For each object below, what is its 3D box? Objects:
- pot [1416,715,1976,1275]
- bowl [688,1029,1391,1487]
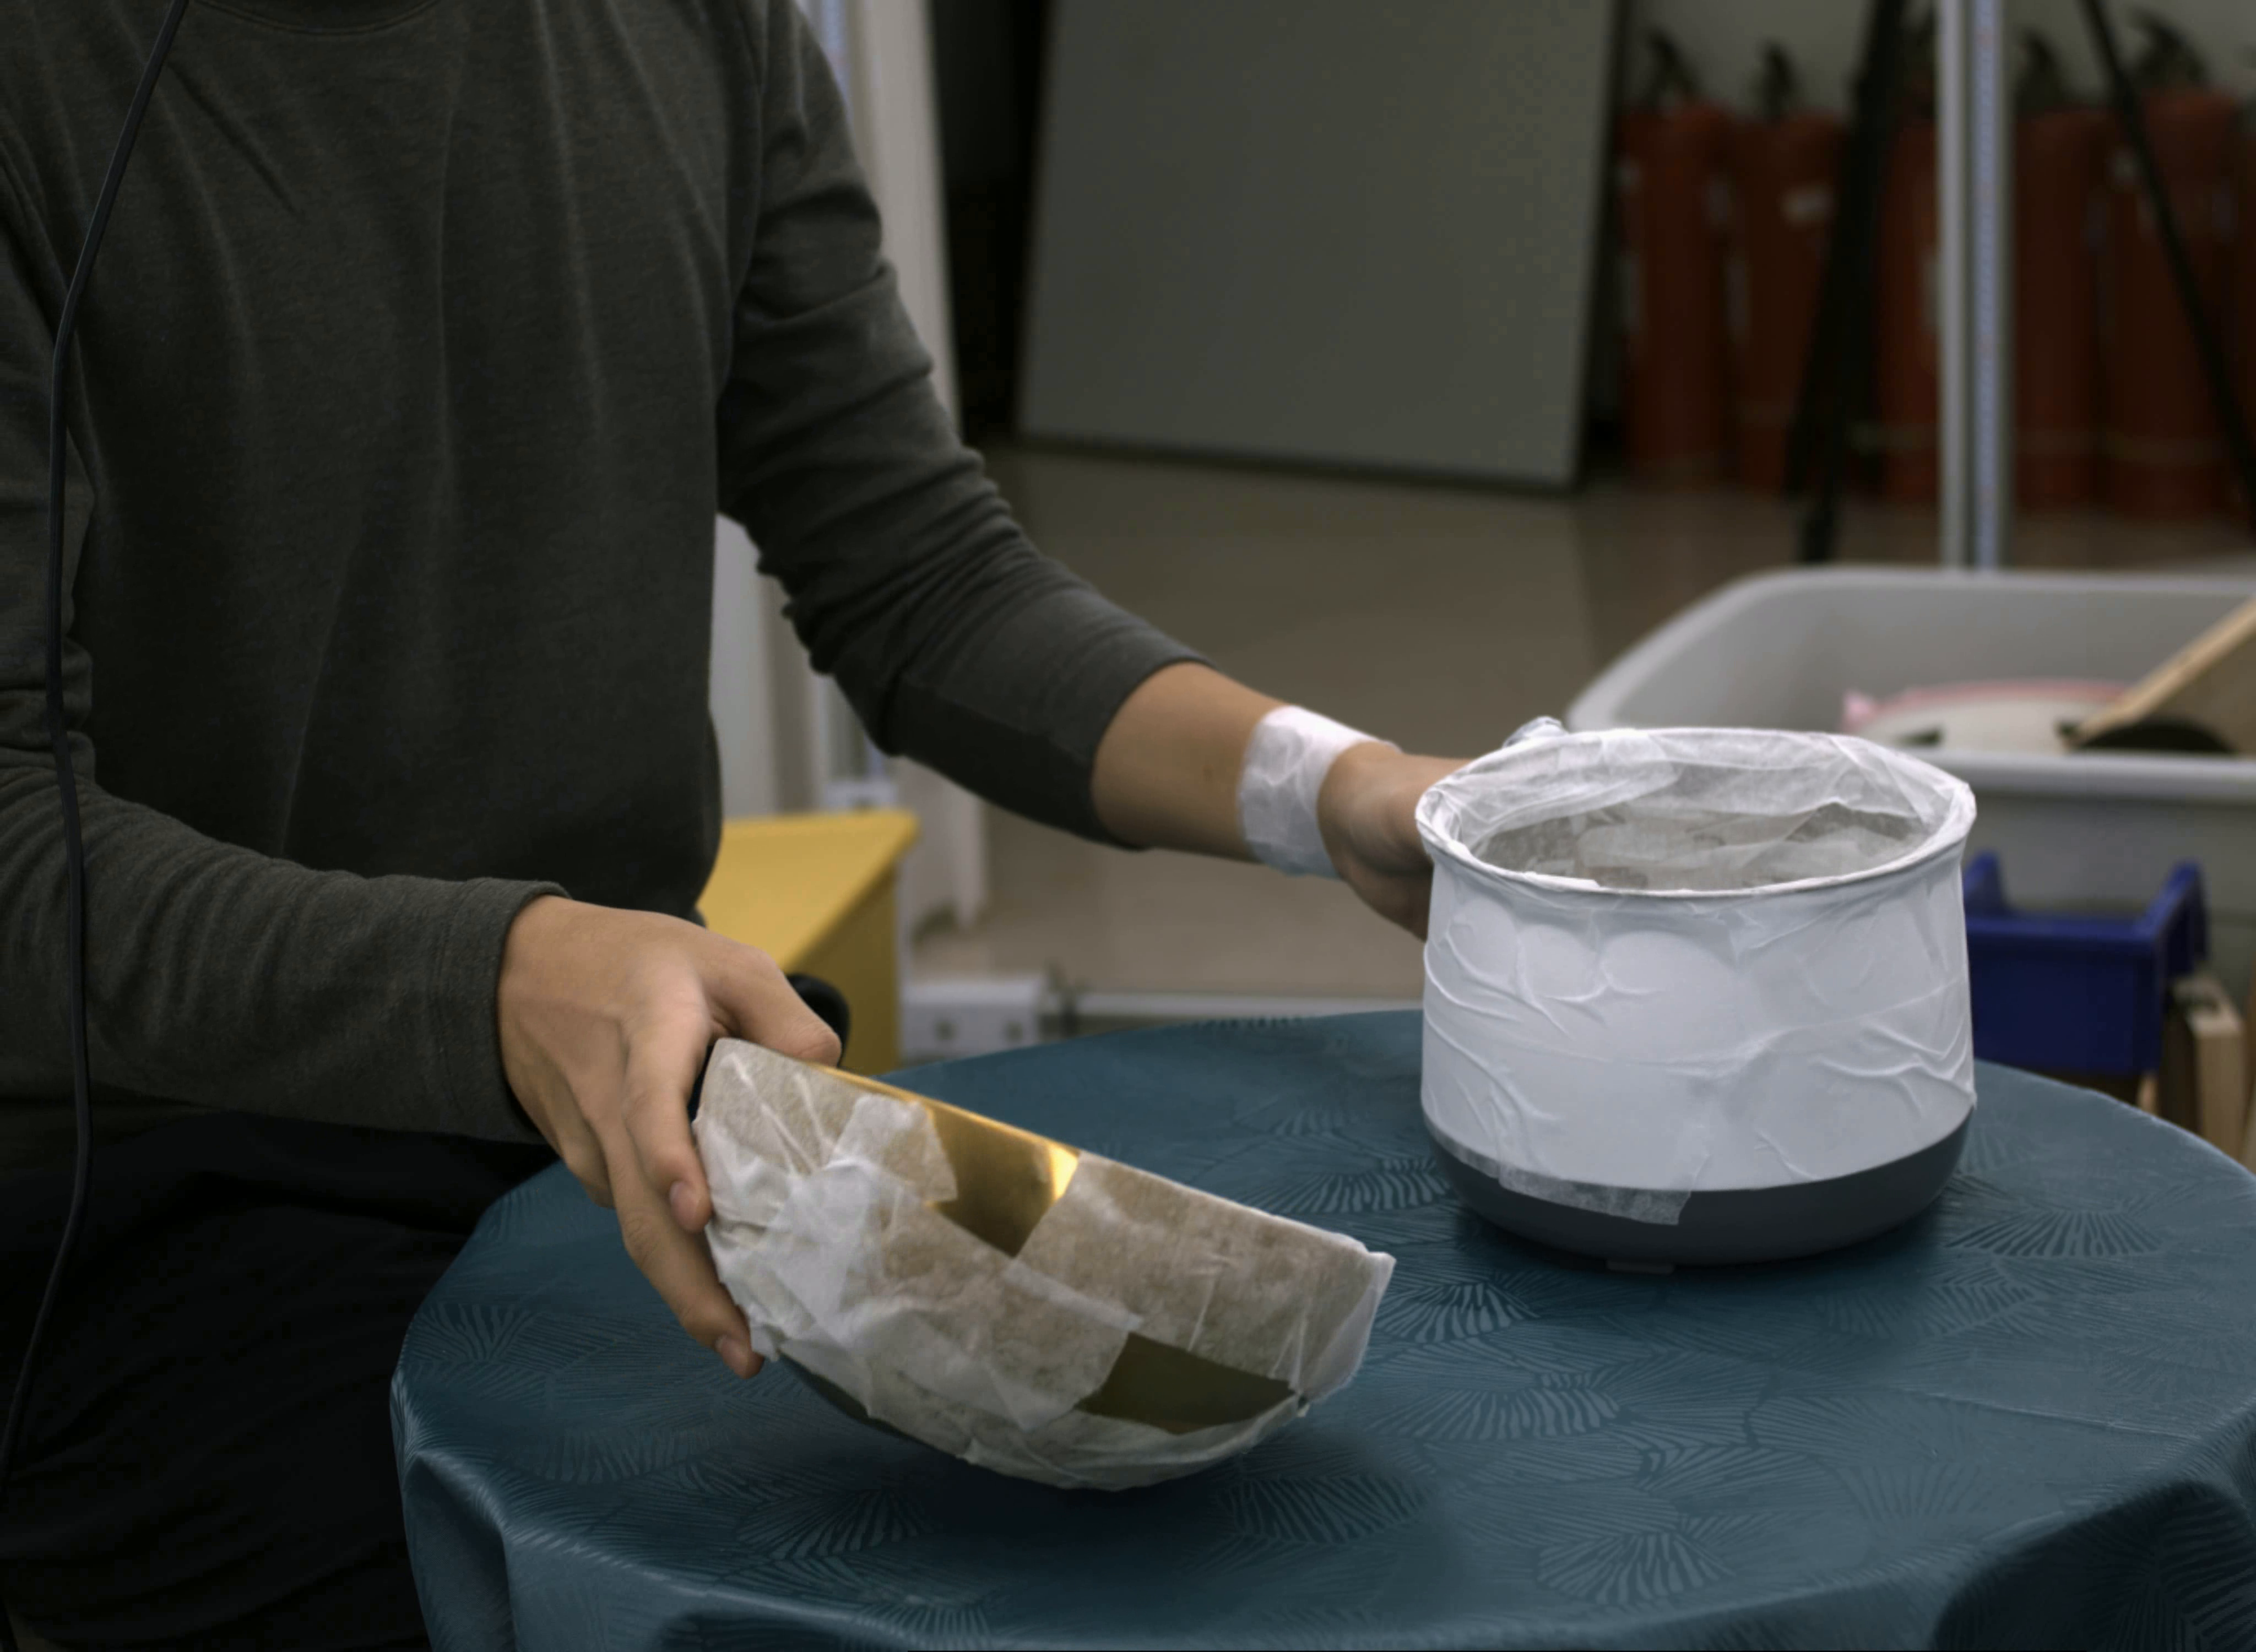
[{"bbox_3d":[0.168,0.047,1.725,0.175,0.138,0.236,-10,17,-23],"label":"pot"},{"bbox_3d":[-0.036,0.129,1.500,0.212,0.095,0.215,17,-4,0],"label":"bowl"}]
